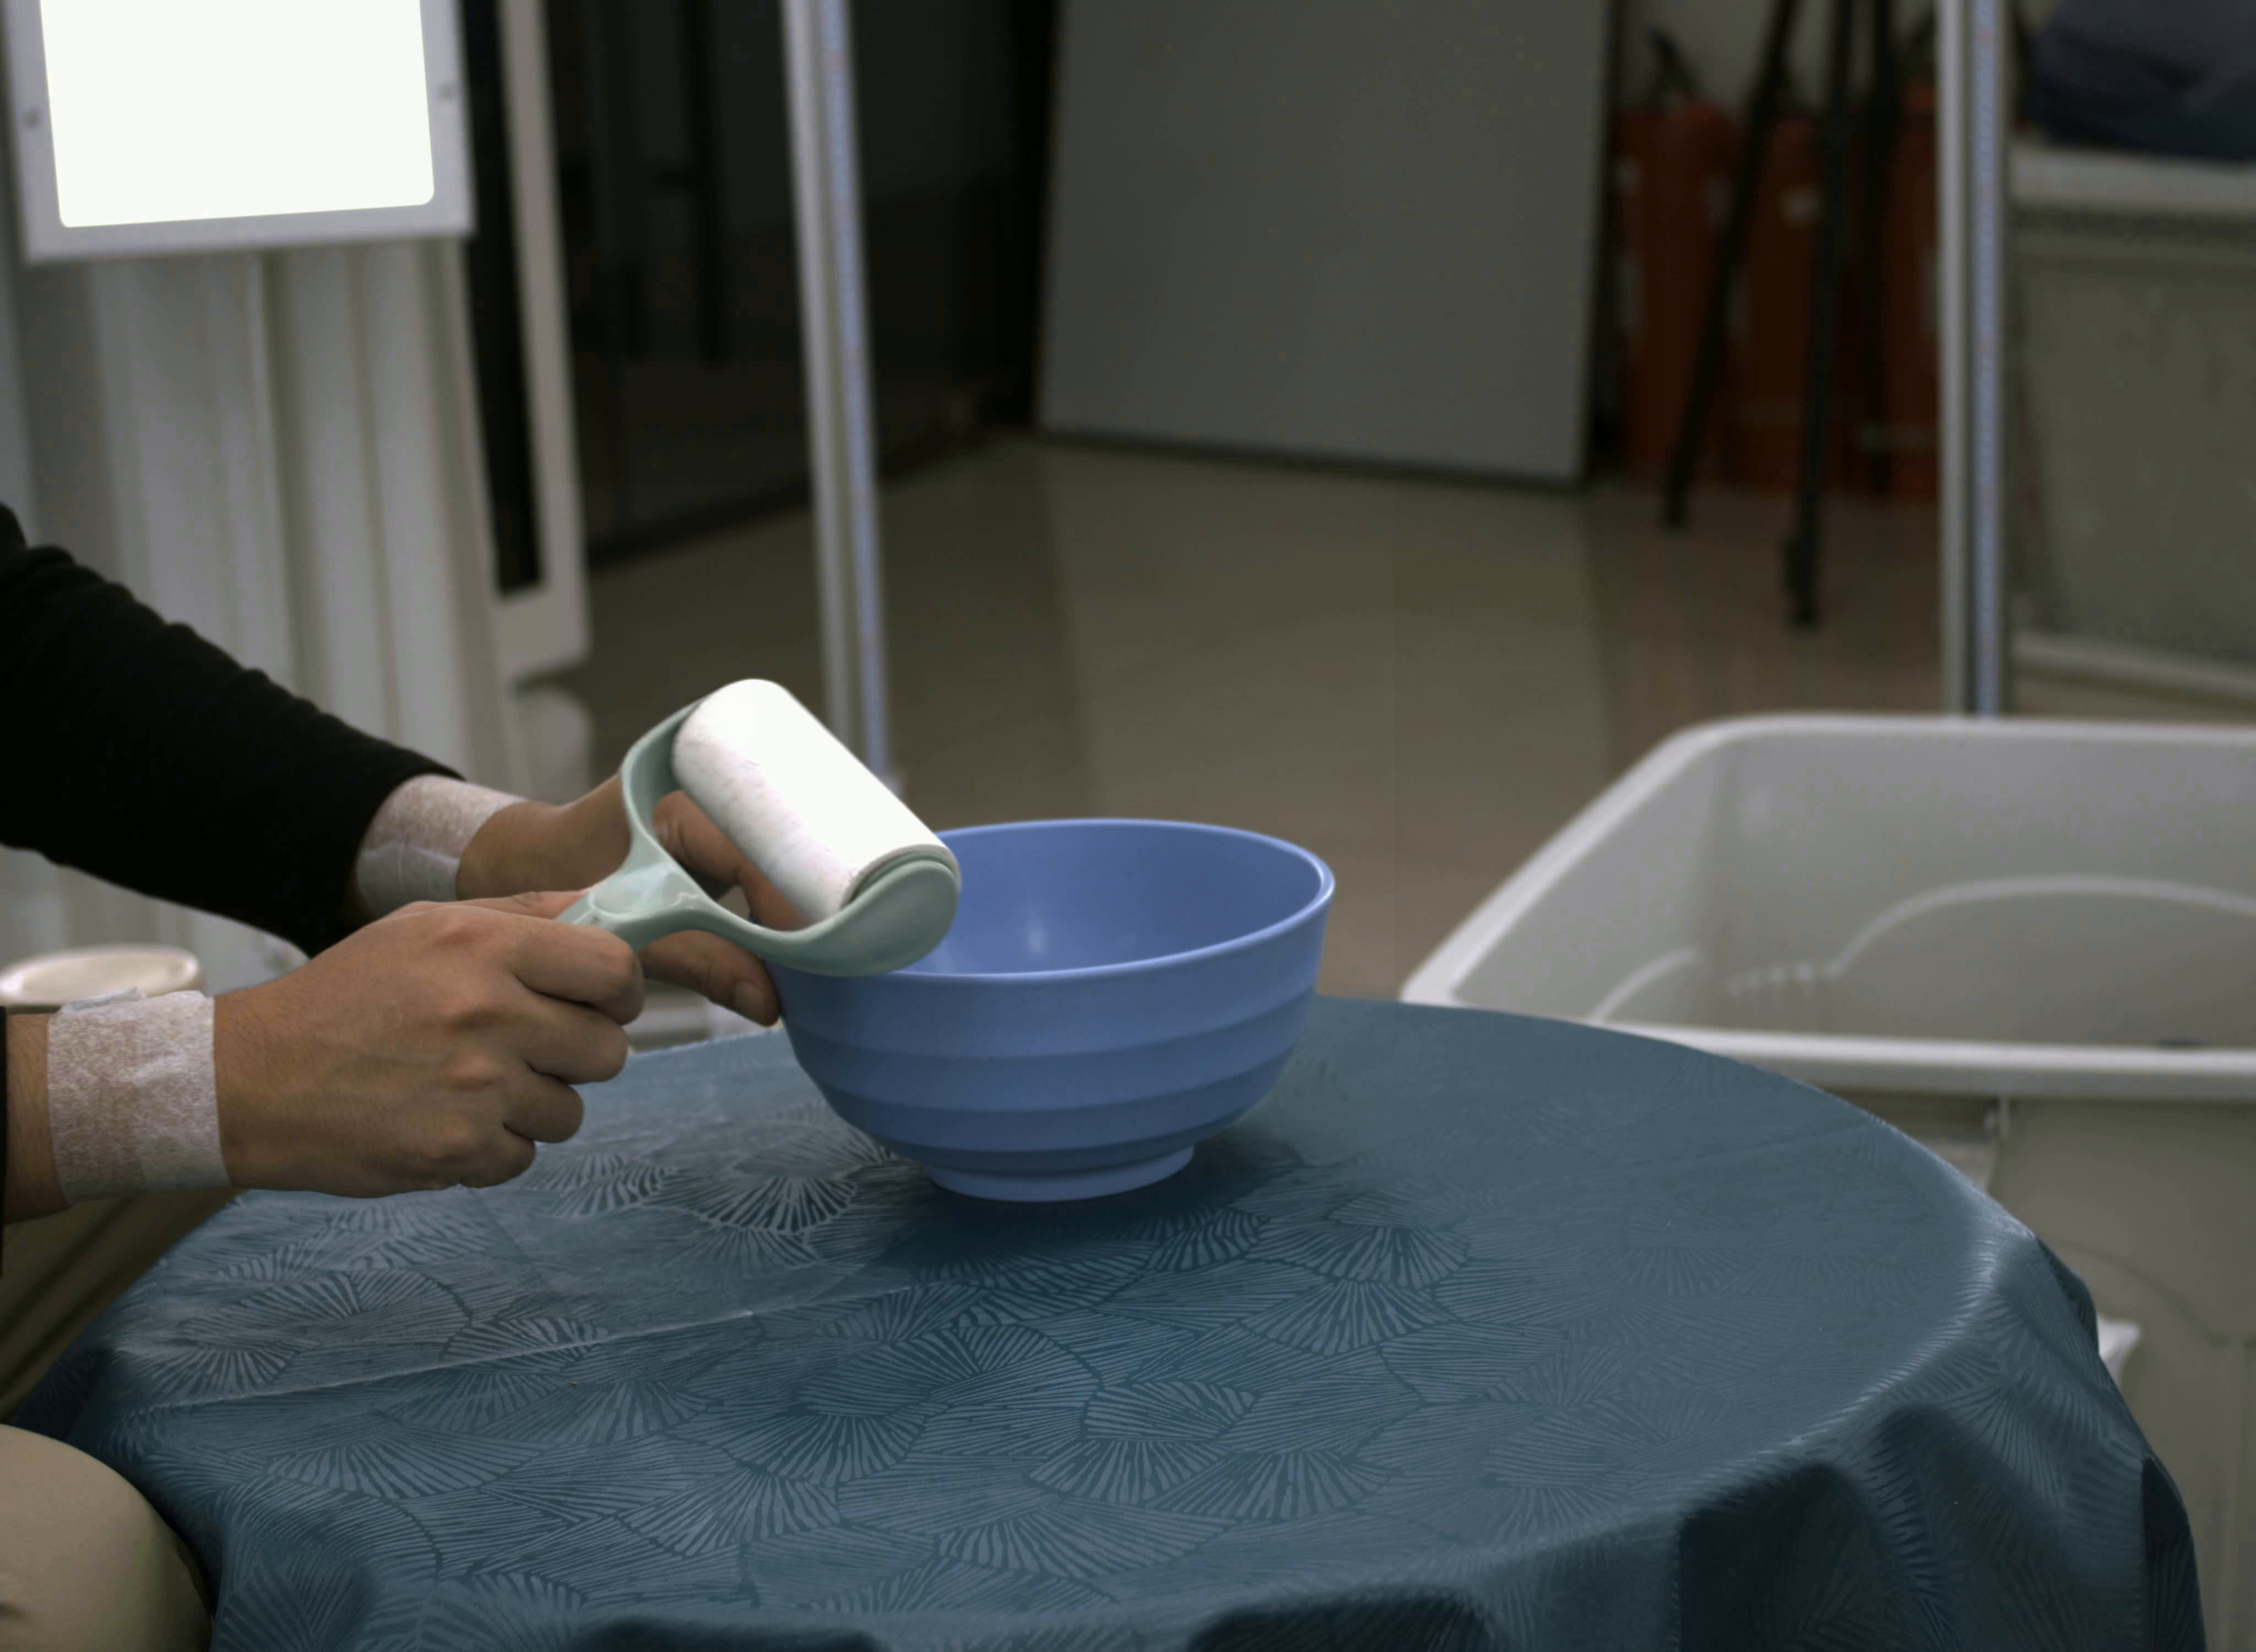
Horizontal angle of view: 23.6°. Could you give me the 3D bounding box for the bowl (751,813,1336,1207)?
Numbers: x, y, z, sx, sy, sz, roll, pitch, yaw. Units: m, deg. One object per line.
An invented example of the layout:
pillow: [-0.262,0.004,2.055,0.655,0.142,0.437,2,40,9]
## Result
bowl: [-0.025,0.067,1.796,0.194,0.096,0.197,-4,15,0]

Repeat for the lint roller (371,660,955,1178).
lint roller: [-0.158,0.035,1.671,0.195,0.048,0.118,-35,49,-13]
